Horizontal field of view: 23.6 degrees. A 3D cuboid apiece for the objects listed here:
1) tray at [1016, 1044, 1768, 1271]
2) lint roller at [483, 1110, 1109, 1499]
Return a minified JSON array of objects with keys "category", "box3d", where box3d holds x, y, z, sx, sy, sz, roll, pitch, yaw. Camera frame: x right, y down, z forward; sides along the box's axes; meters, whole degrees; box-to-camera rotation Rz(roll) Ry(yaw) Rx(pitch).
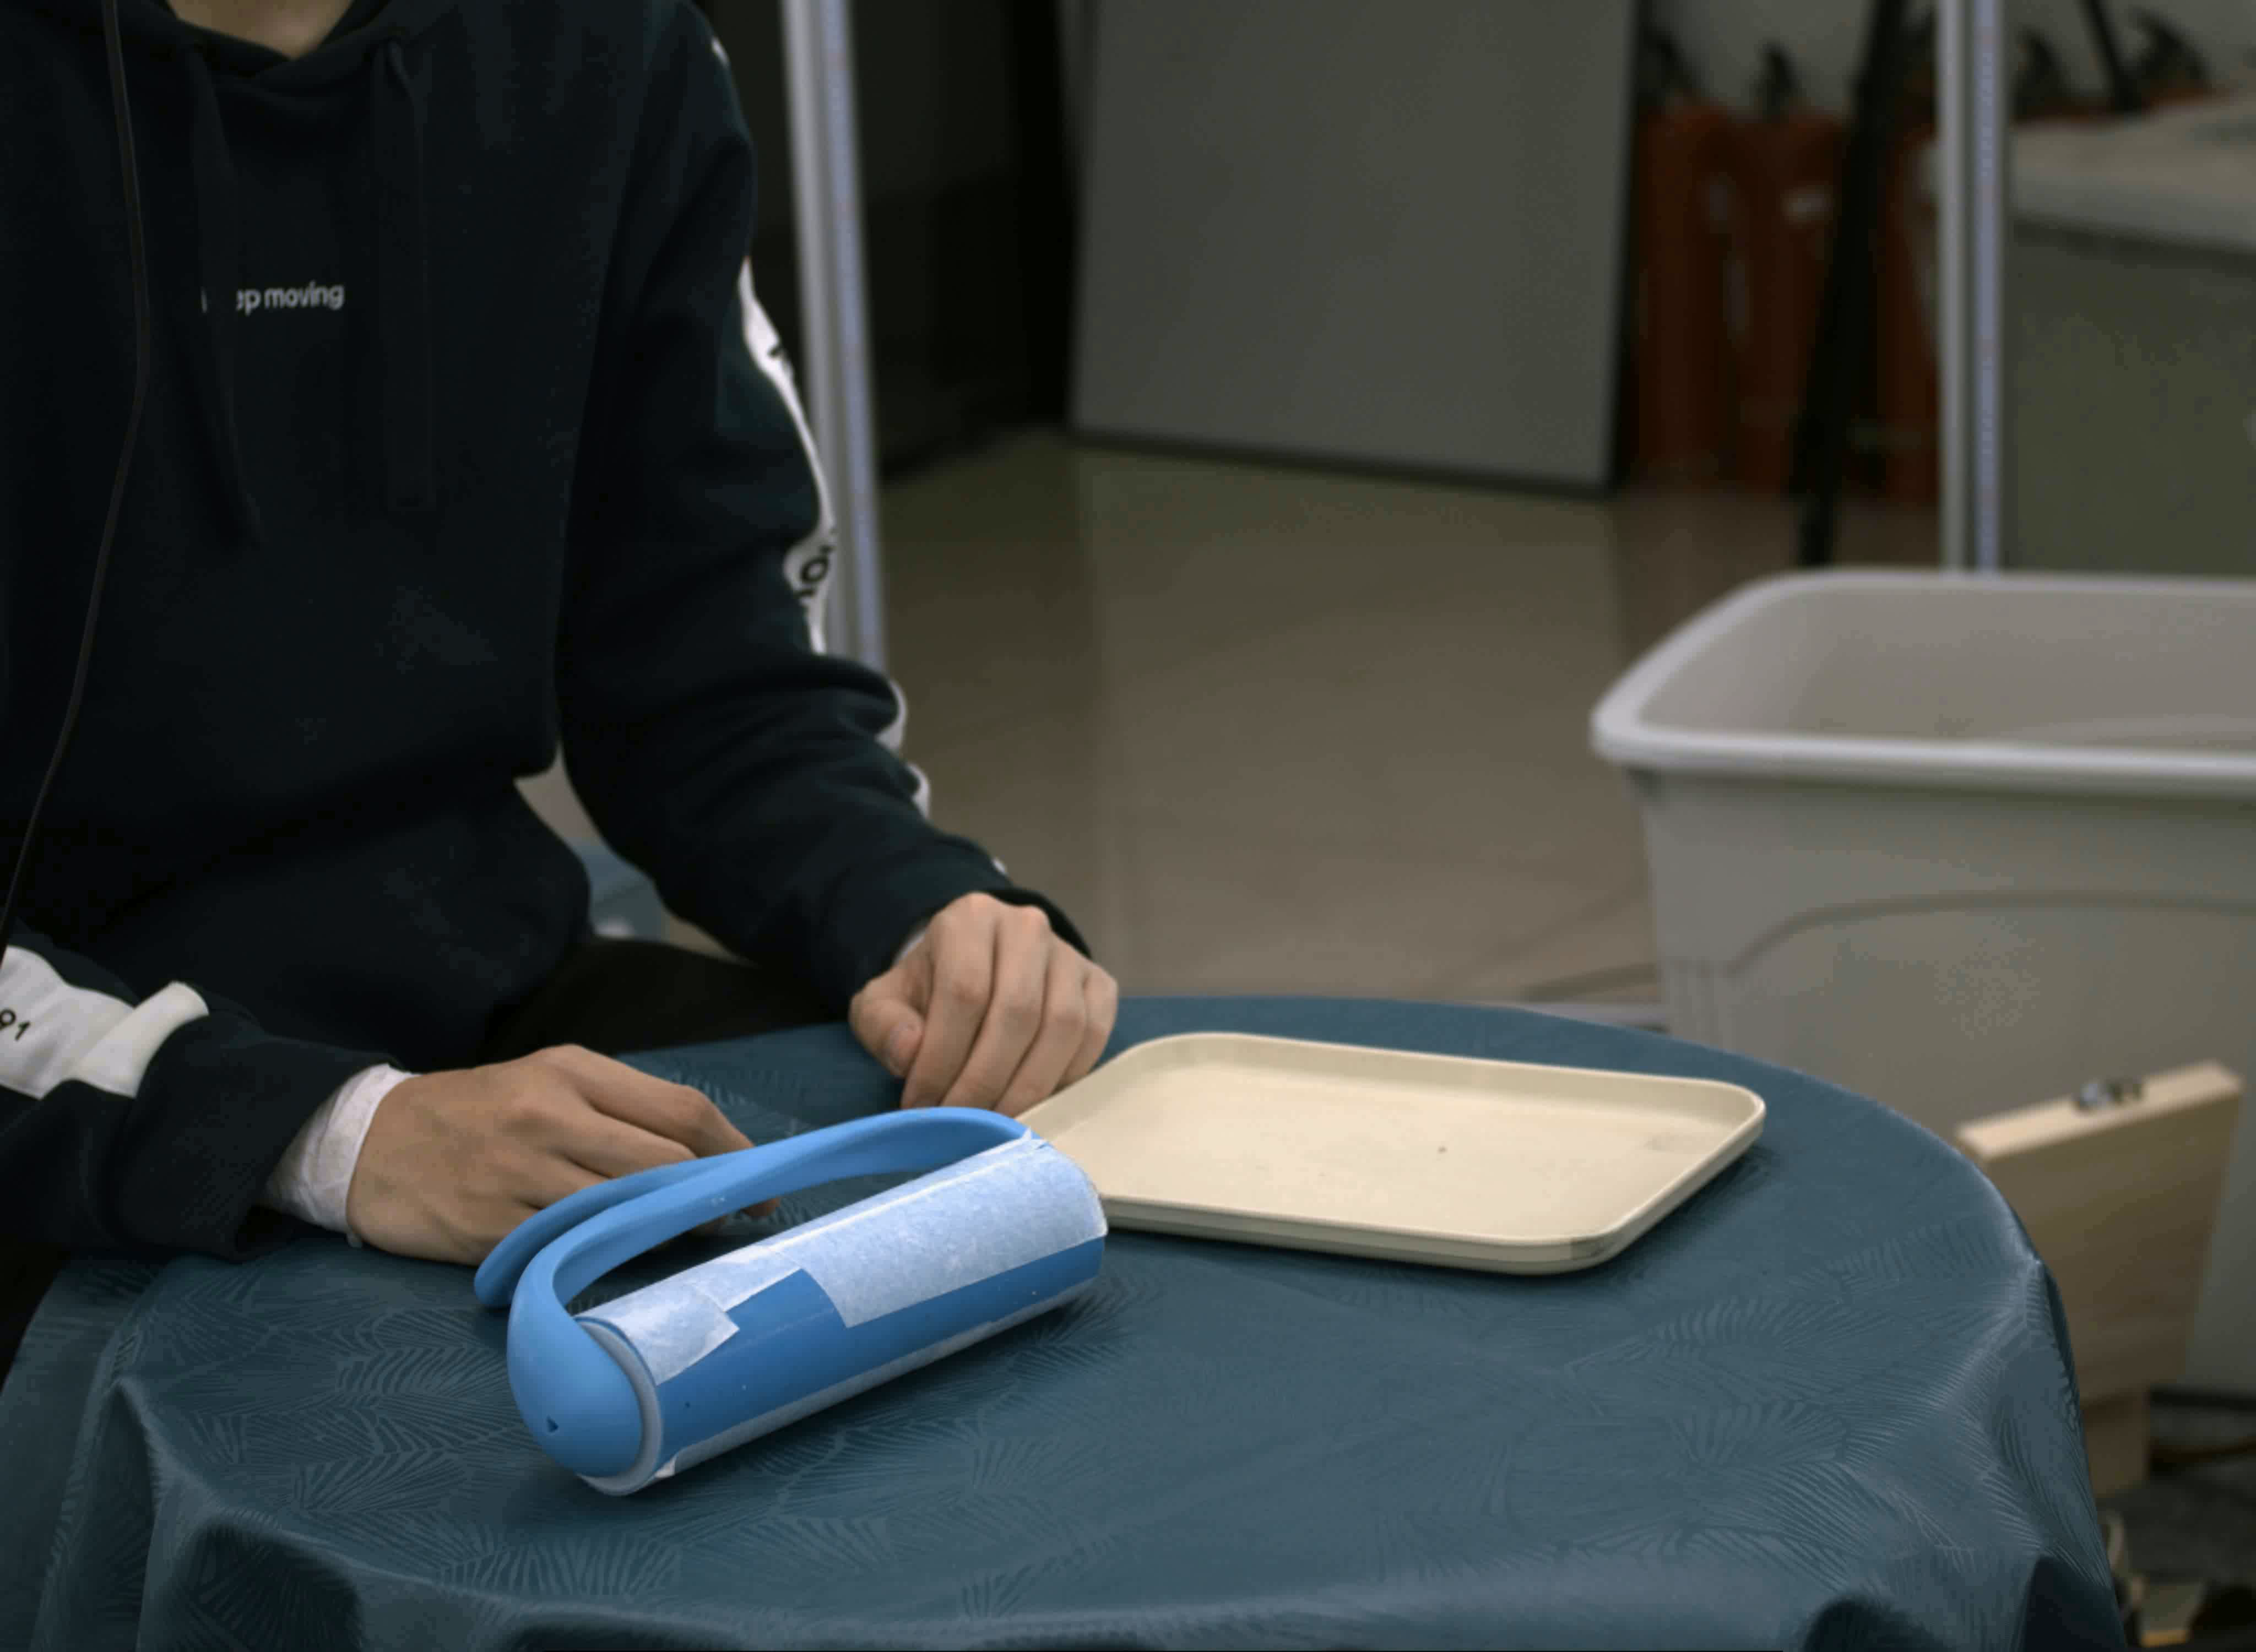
[{"category":"tray","box3d":[0.079,0.108,1.764,0.240,0.017,0.169,4,15,30]},{"category":"lint roller","box3d":[-0.132,0.136,1.632,0.181,0.068,0.225,8,19,38]}]
